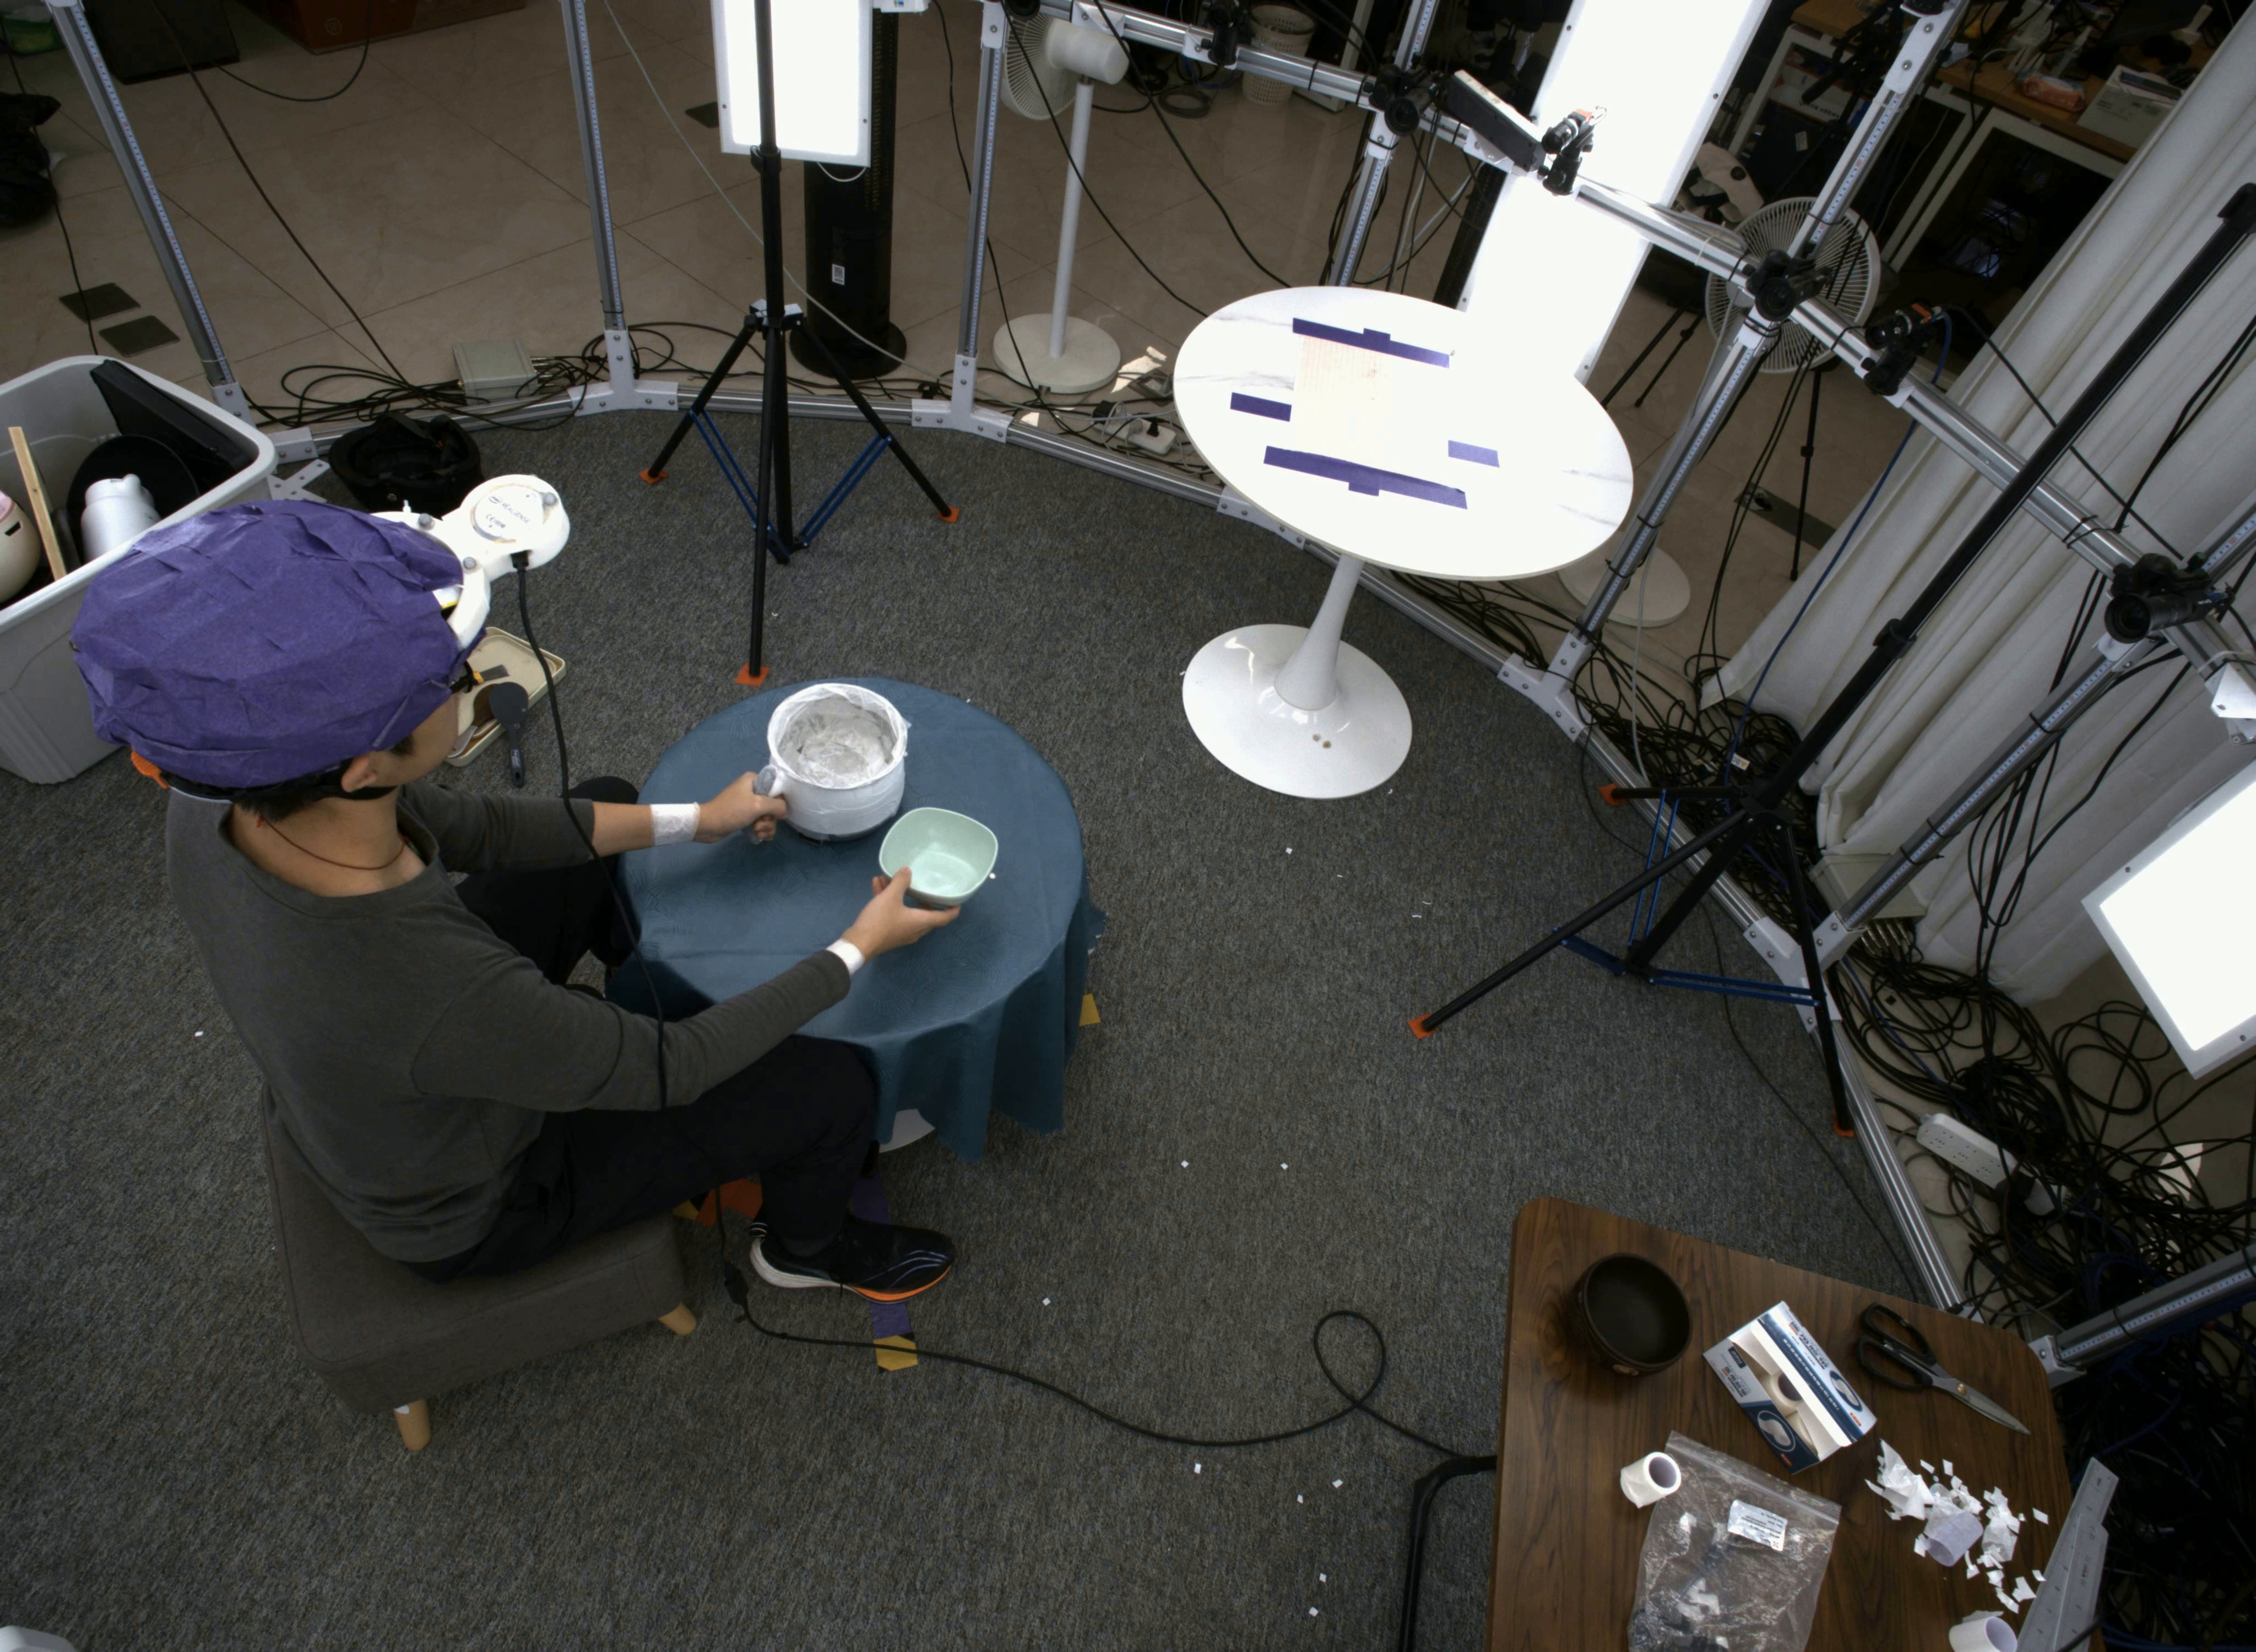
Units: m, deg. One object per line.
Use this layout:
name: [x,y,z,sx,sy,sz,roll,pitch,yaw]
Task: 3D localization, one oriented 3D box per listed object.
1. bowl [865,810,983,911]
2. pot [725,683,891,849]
bowl: [-0.256,0.051,1.635,0.151,0.060,0.148,8,46,-7]
pot: [-0.423,-0.064,1.695,0.175,0.139,0.234,42,56,17]
